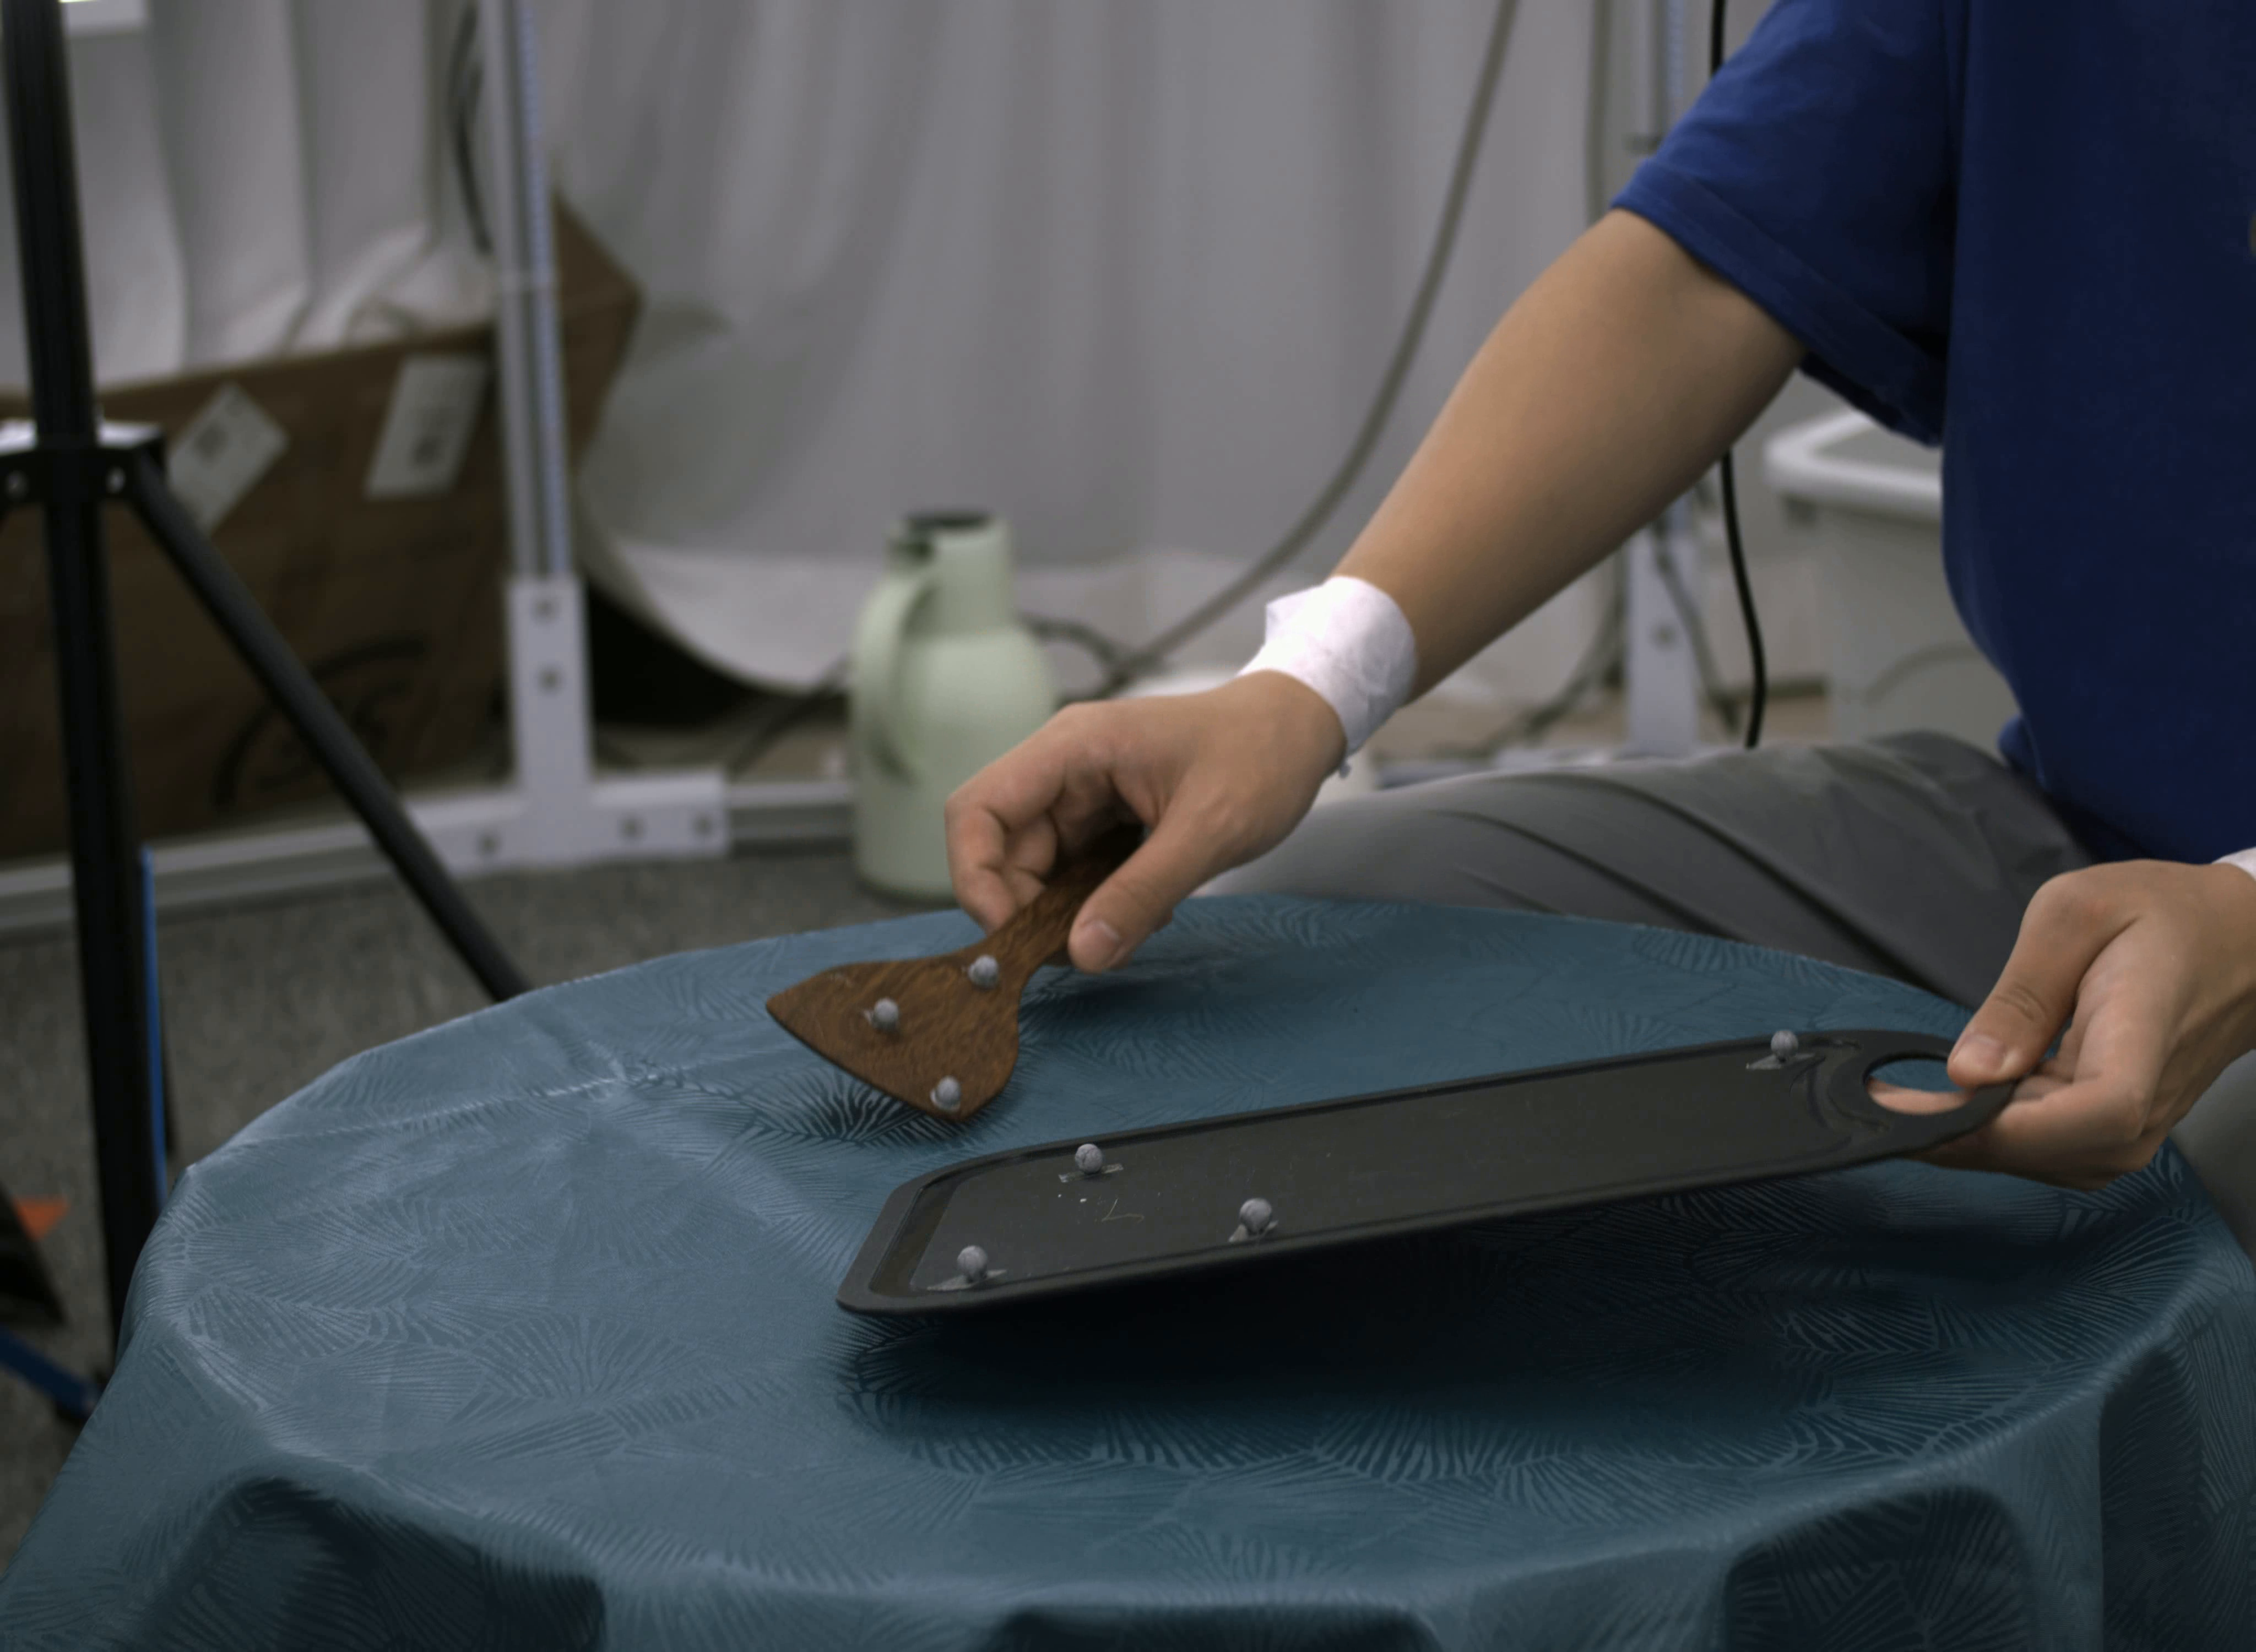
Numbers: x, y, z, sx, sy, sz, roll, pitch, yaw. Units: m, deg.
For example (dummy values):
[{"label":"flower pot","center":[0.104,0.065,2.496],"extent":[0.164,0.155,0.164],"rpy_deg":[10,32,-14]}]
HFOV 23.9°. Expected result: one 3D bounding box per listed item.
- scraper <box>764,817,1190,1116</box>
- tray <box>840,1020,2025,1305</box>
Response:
[{"label":"scraper","center":[-0.037,0.038,1.697],"extent":[0.077,0.011,0.208],"rpy_deg":[31,33,17]},{"label":"tray","center":[0.086,0.089,1.472],"extent":[0.326,0.010,0.210],"rpy_deg":[-9,7,7]}]
